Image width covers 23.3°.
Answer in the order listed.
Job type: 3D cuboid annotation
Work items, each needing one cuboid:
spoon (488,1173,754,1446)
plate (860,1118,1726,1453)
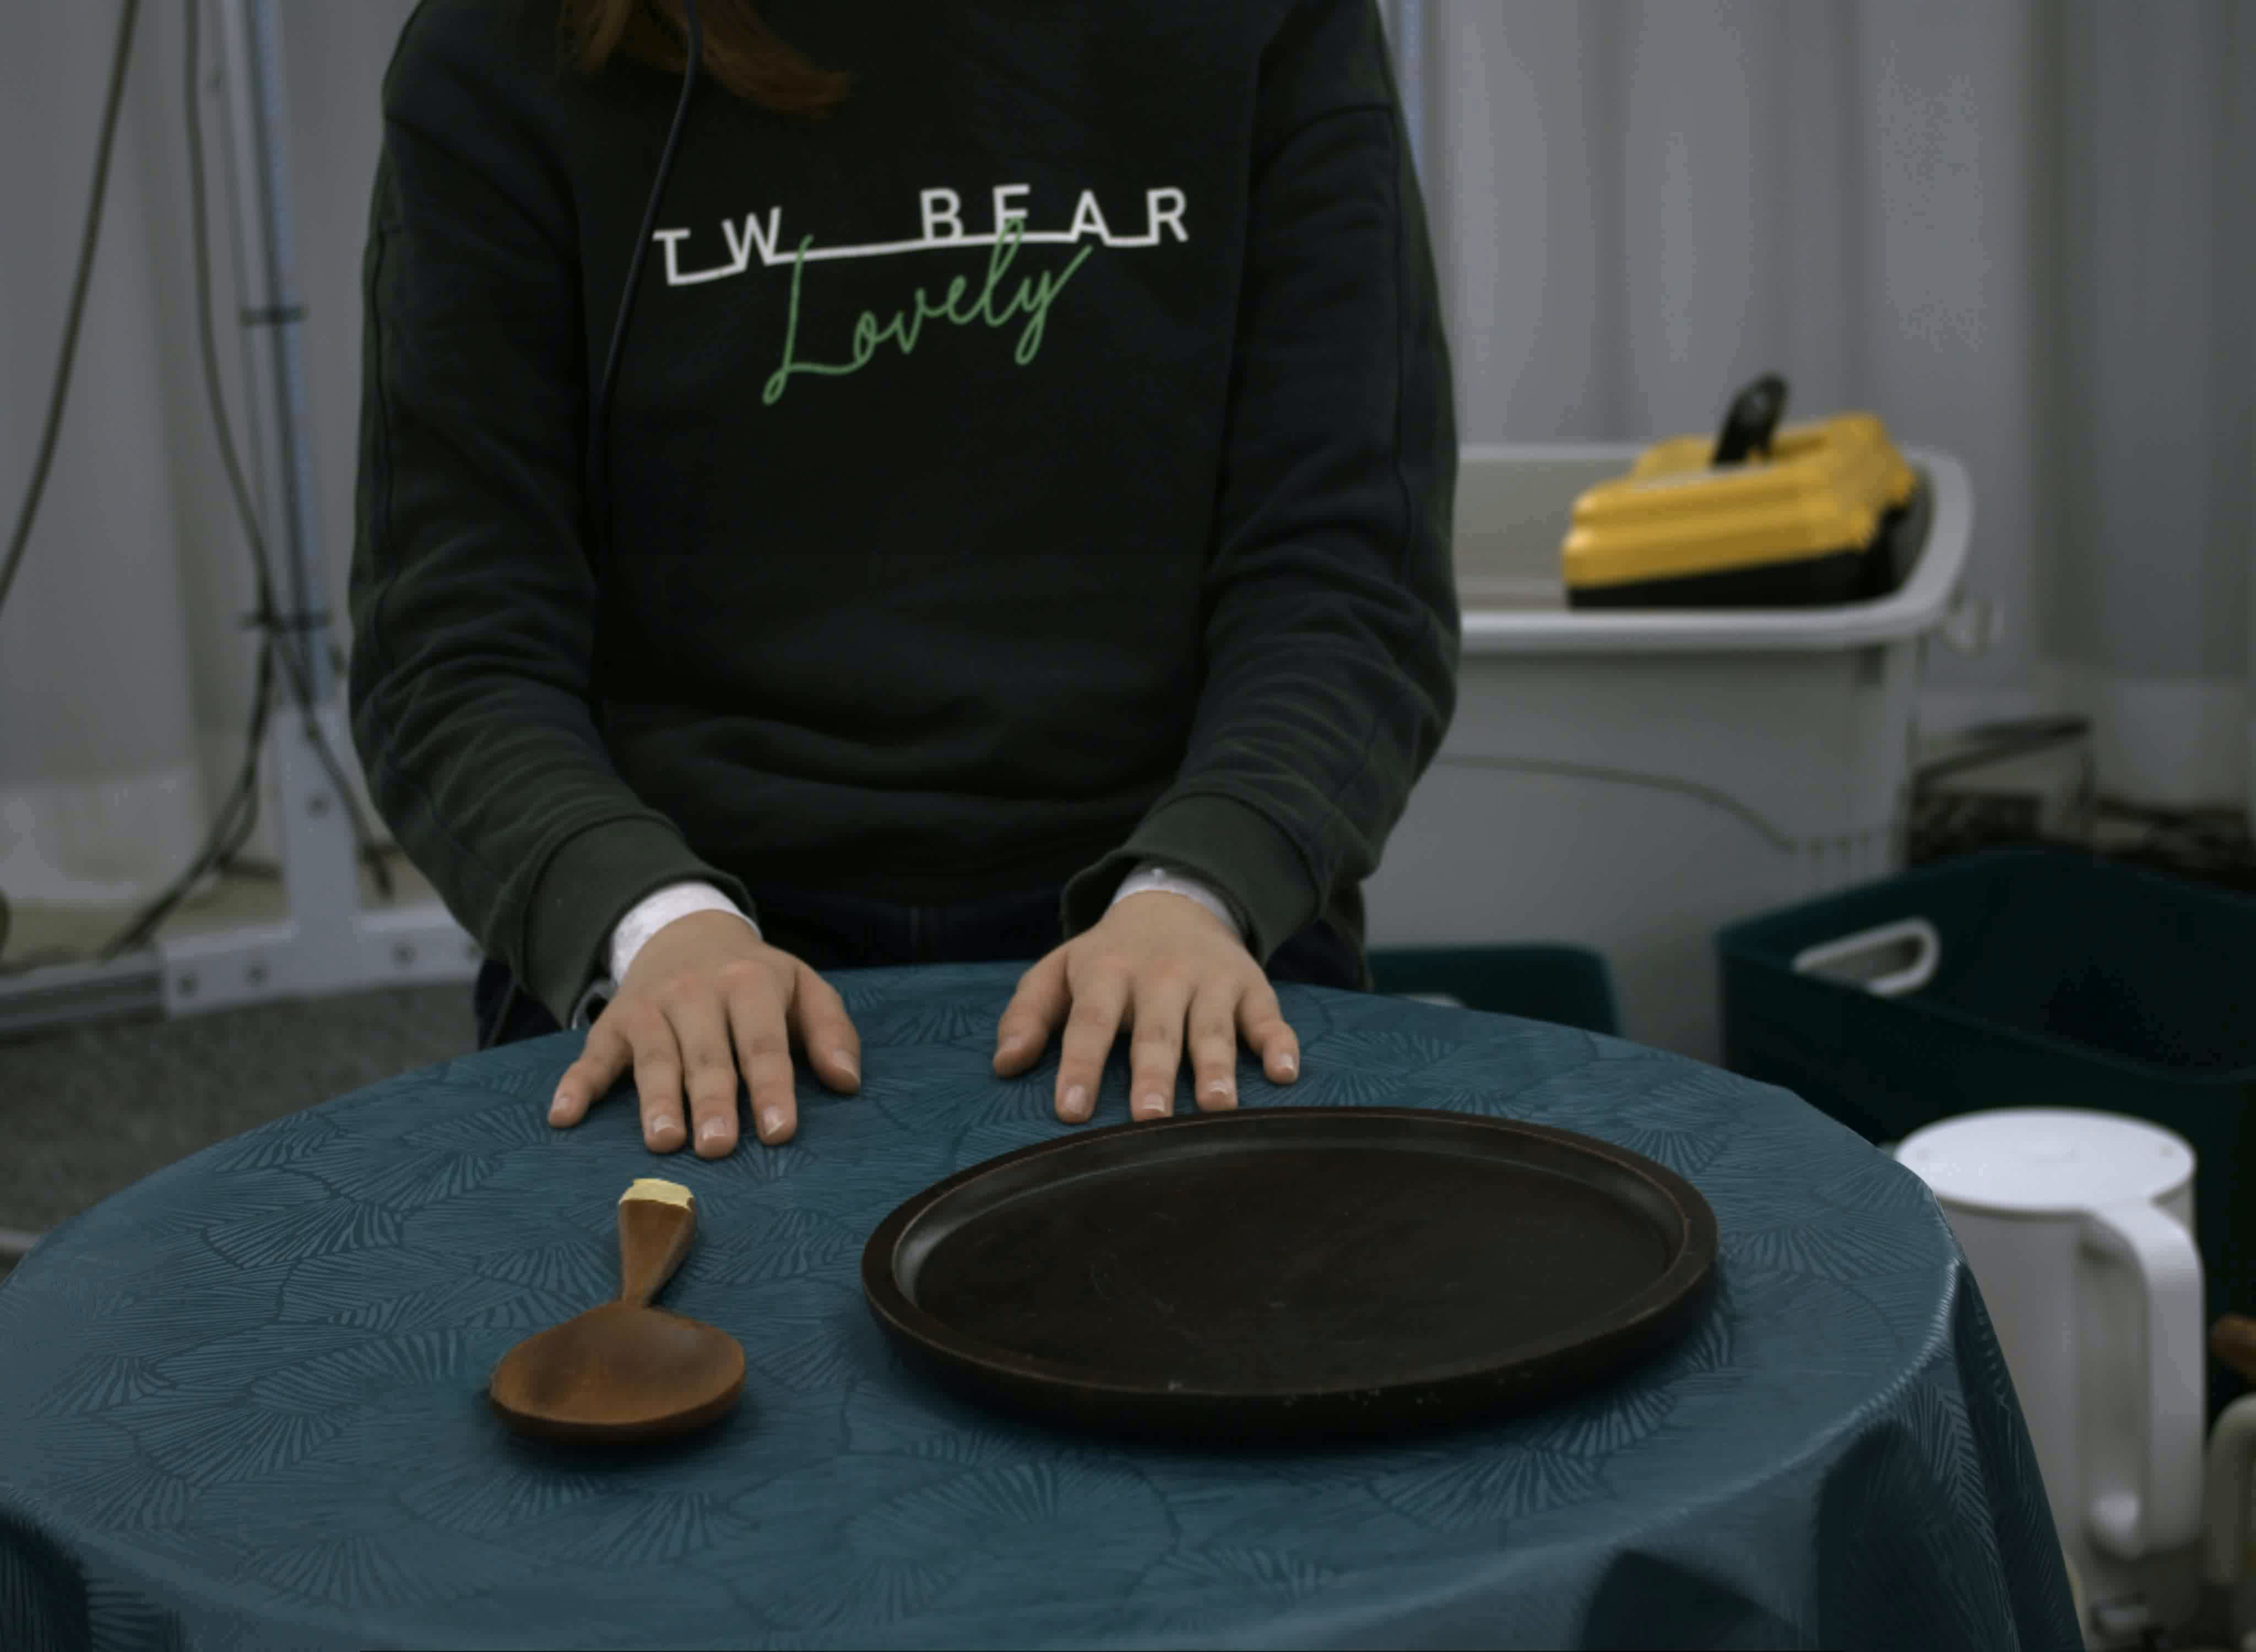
[{"bbox_3d":[-0.144,0.143,1.603,0.075,0.017,0.217,-3,15,0],"label":"spoon"},{"bbox_3d":[0.048,0.131,1.601,0.254,0.029,0.256,-2,16,0],"label":"plate"}]
